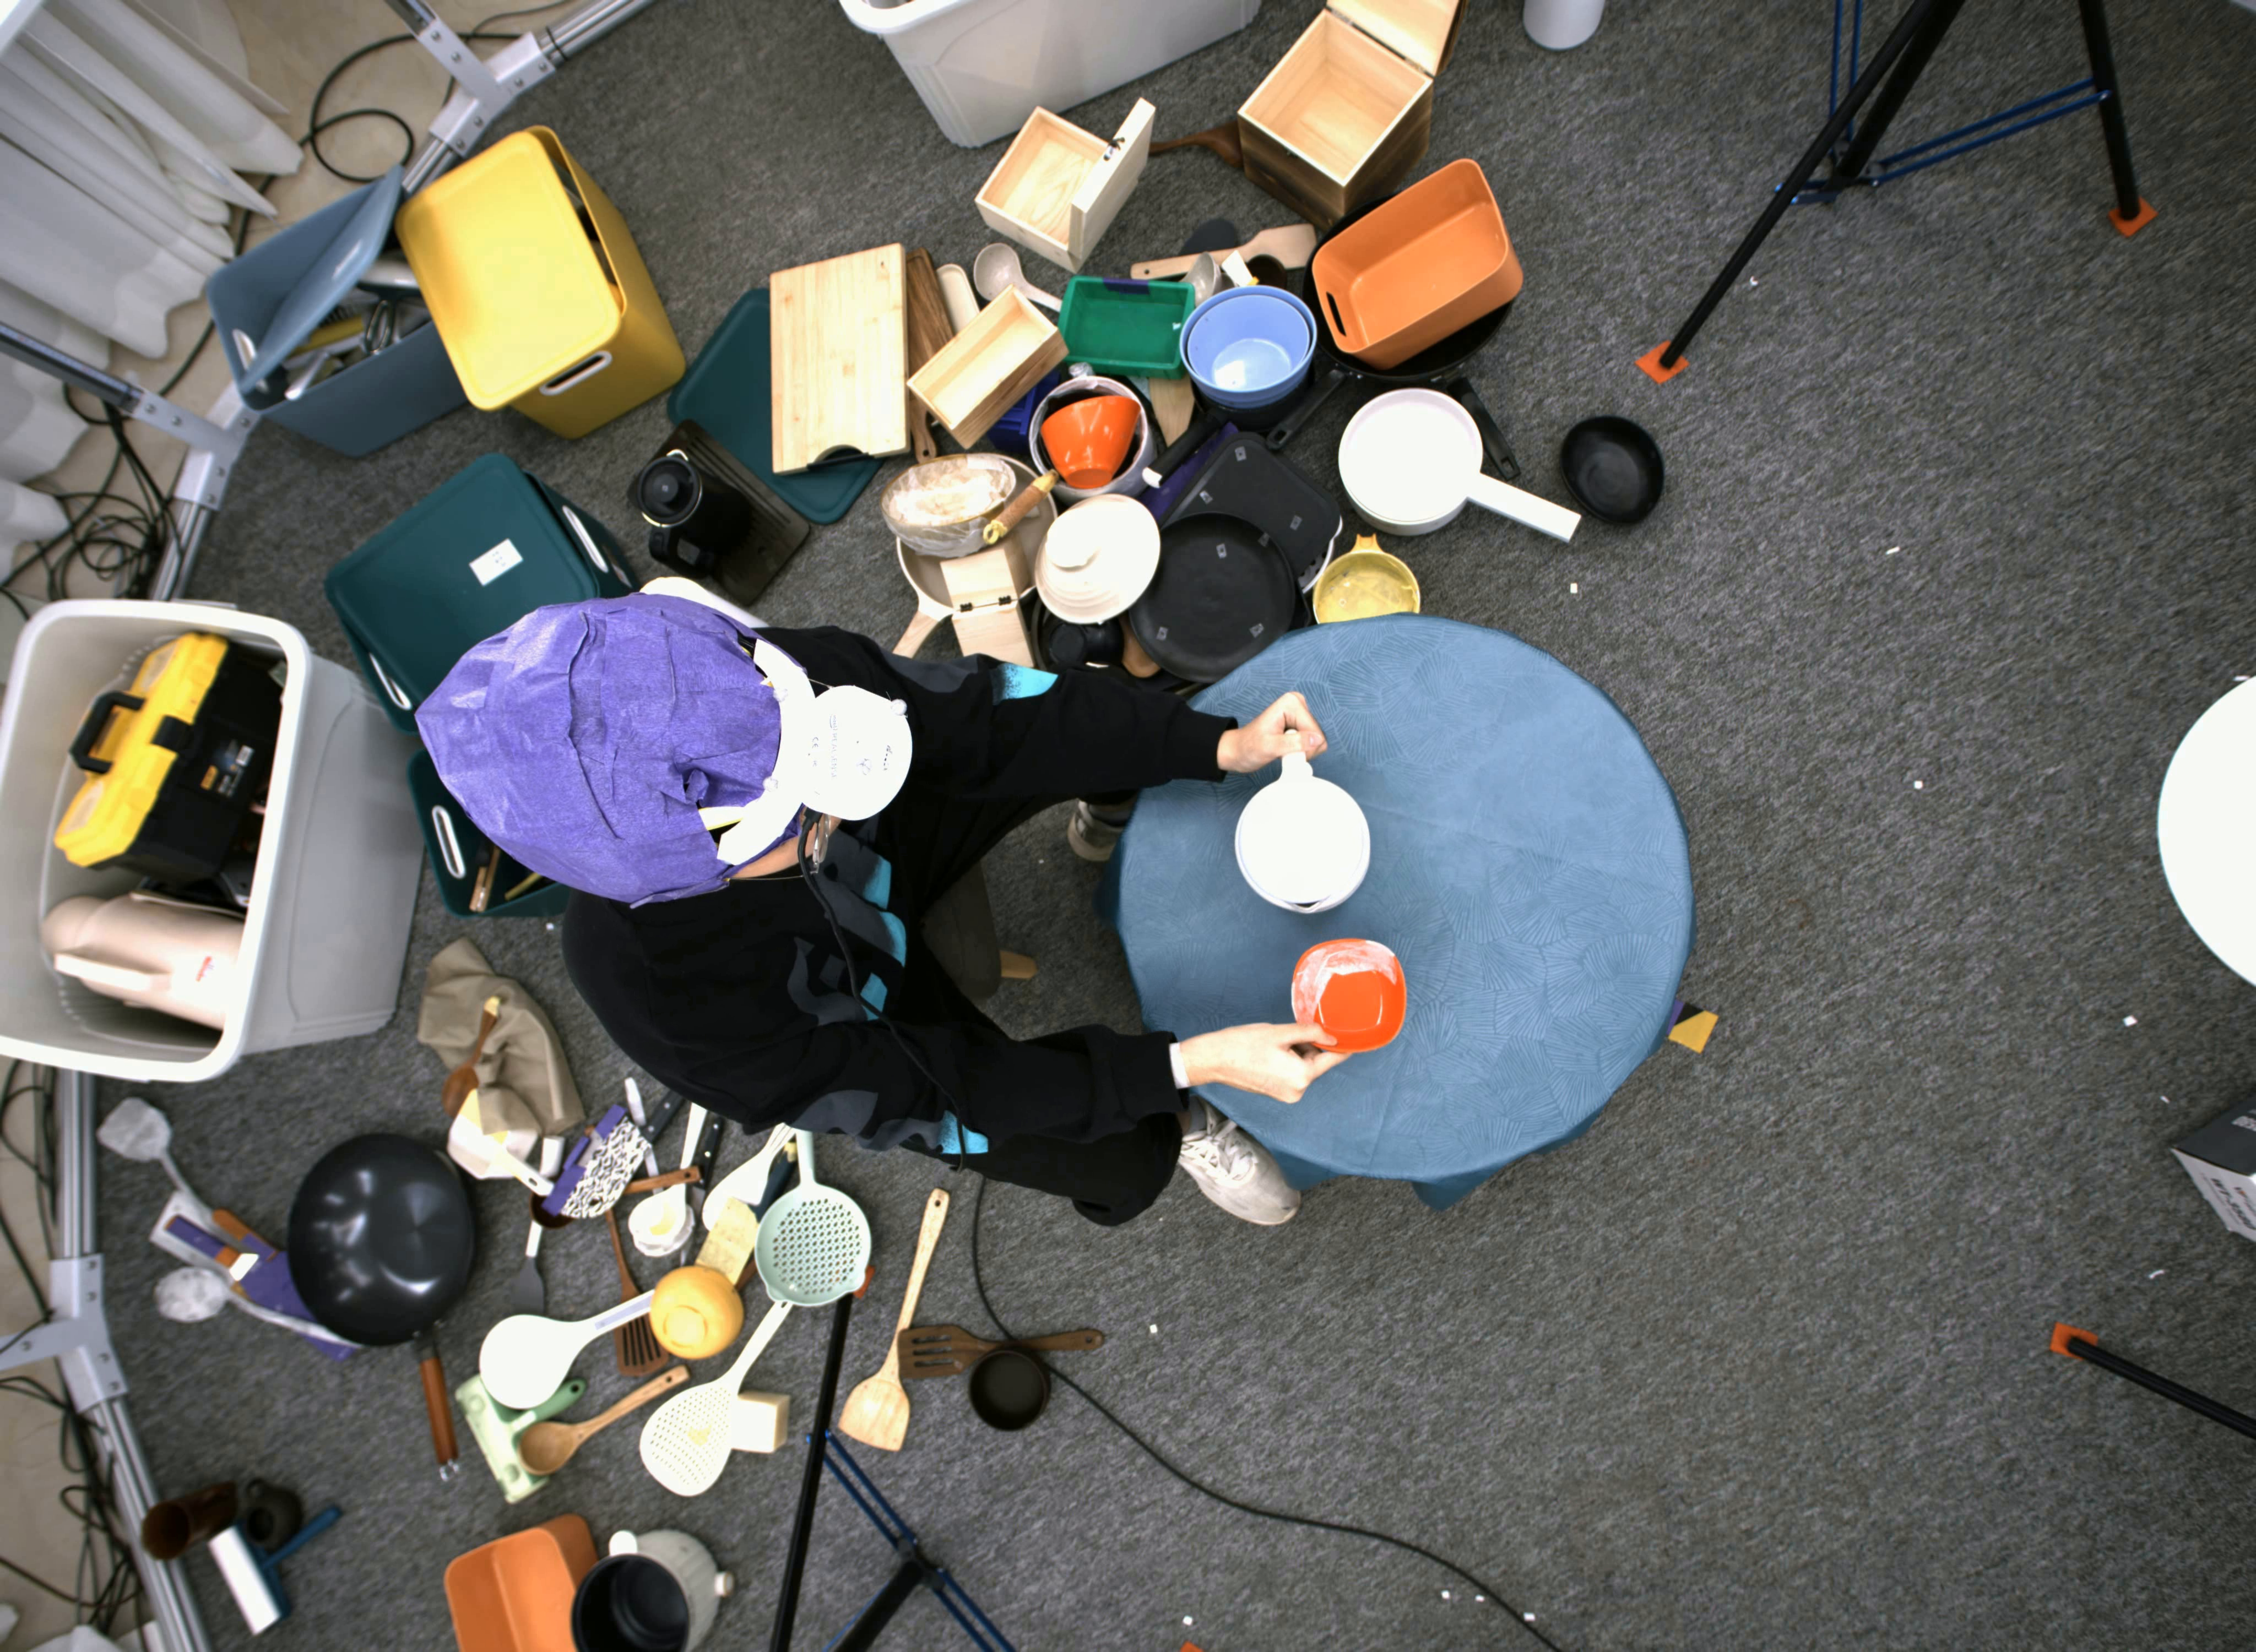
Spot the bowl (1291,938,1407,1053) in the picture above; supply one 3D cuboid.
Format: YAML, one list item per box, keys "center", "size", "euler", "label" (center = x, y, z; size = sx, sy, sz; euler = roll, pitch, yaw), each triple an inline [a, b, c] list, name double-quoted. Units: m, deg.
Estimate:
- center: [0.215, 0.165, 1.346]
  size: [0.119, 0.051, 0.118]
  euler: [-2, 80, 10]
  label: "bowl"

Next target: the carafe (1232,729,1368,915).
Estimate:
- center: [0.171, -0.004, 1.386]
  size: [0.133, 0.183, 0.190]
  euler: [-7, 84, 8]
  label: "carafe"
